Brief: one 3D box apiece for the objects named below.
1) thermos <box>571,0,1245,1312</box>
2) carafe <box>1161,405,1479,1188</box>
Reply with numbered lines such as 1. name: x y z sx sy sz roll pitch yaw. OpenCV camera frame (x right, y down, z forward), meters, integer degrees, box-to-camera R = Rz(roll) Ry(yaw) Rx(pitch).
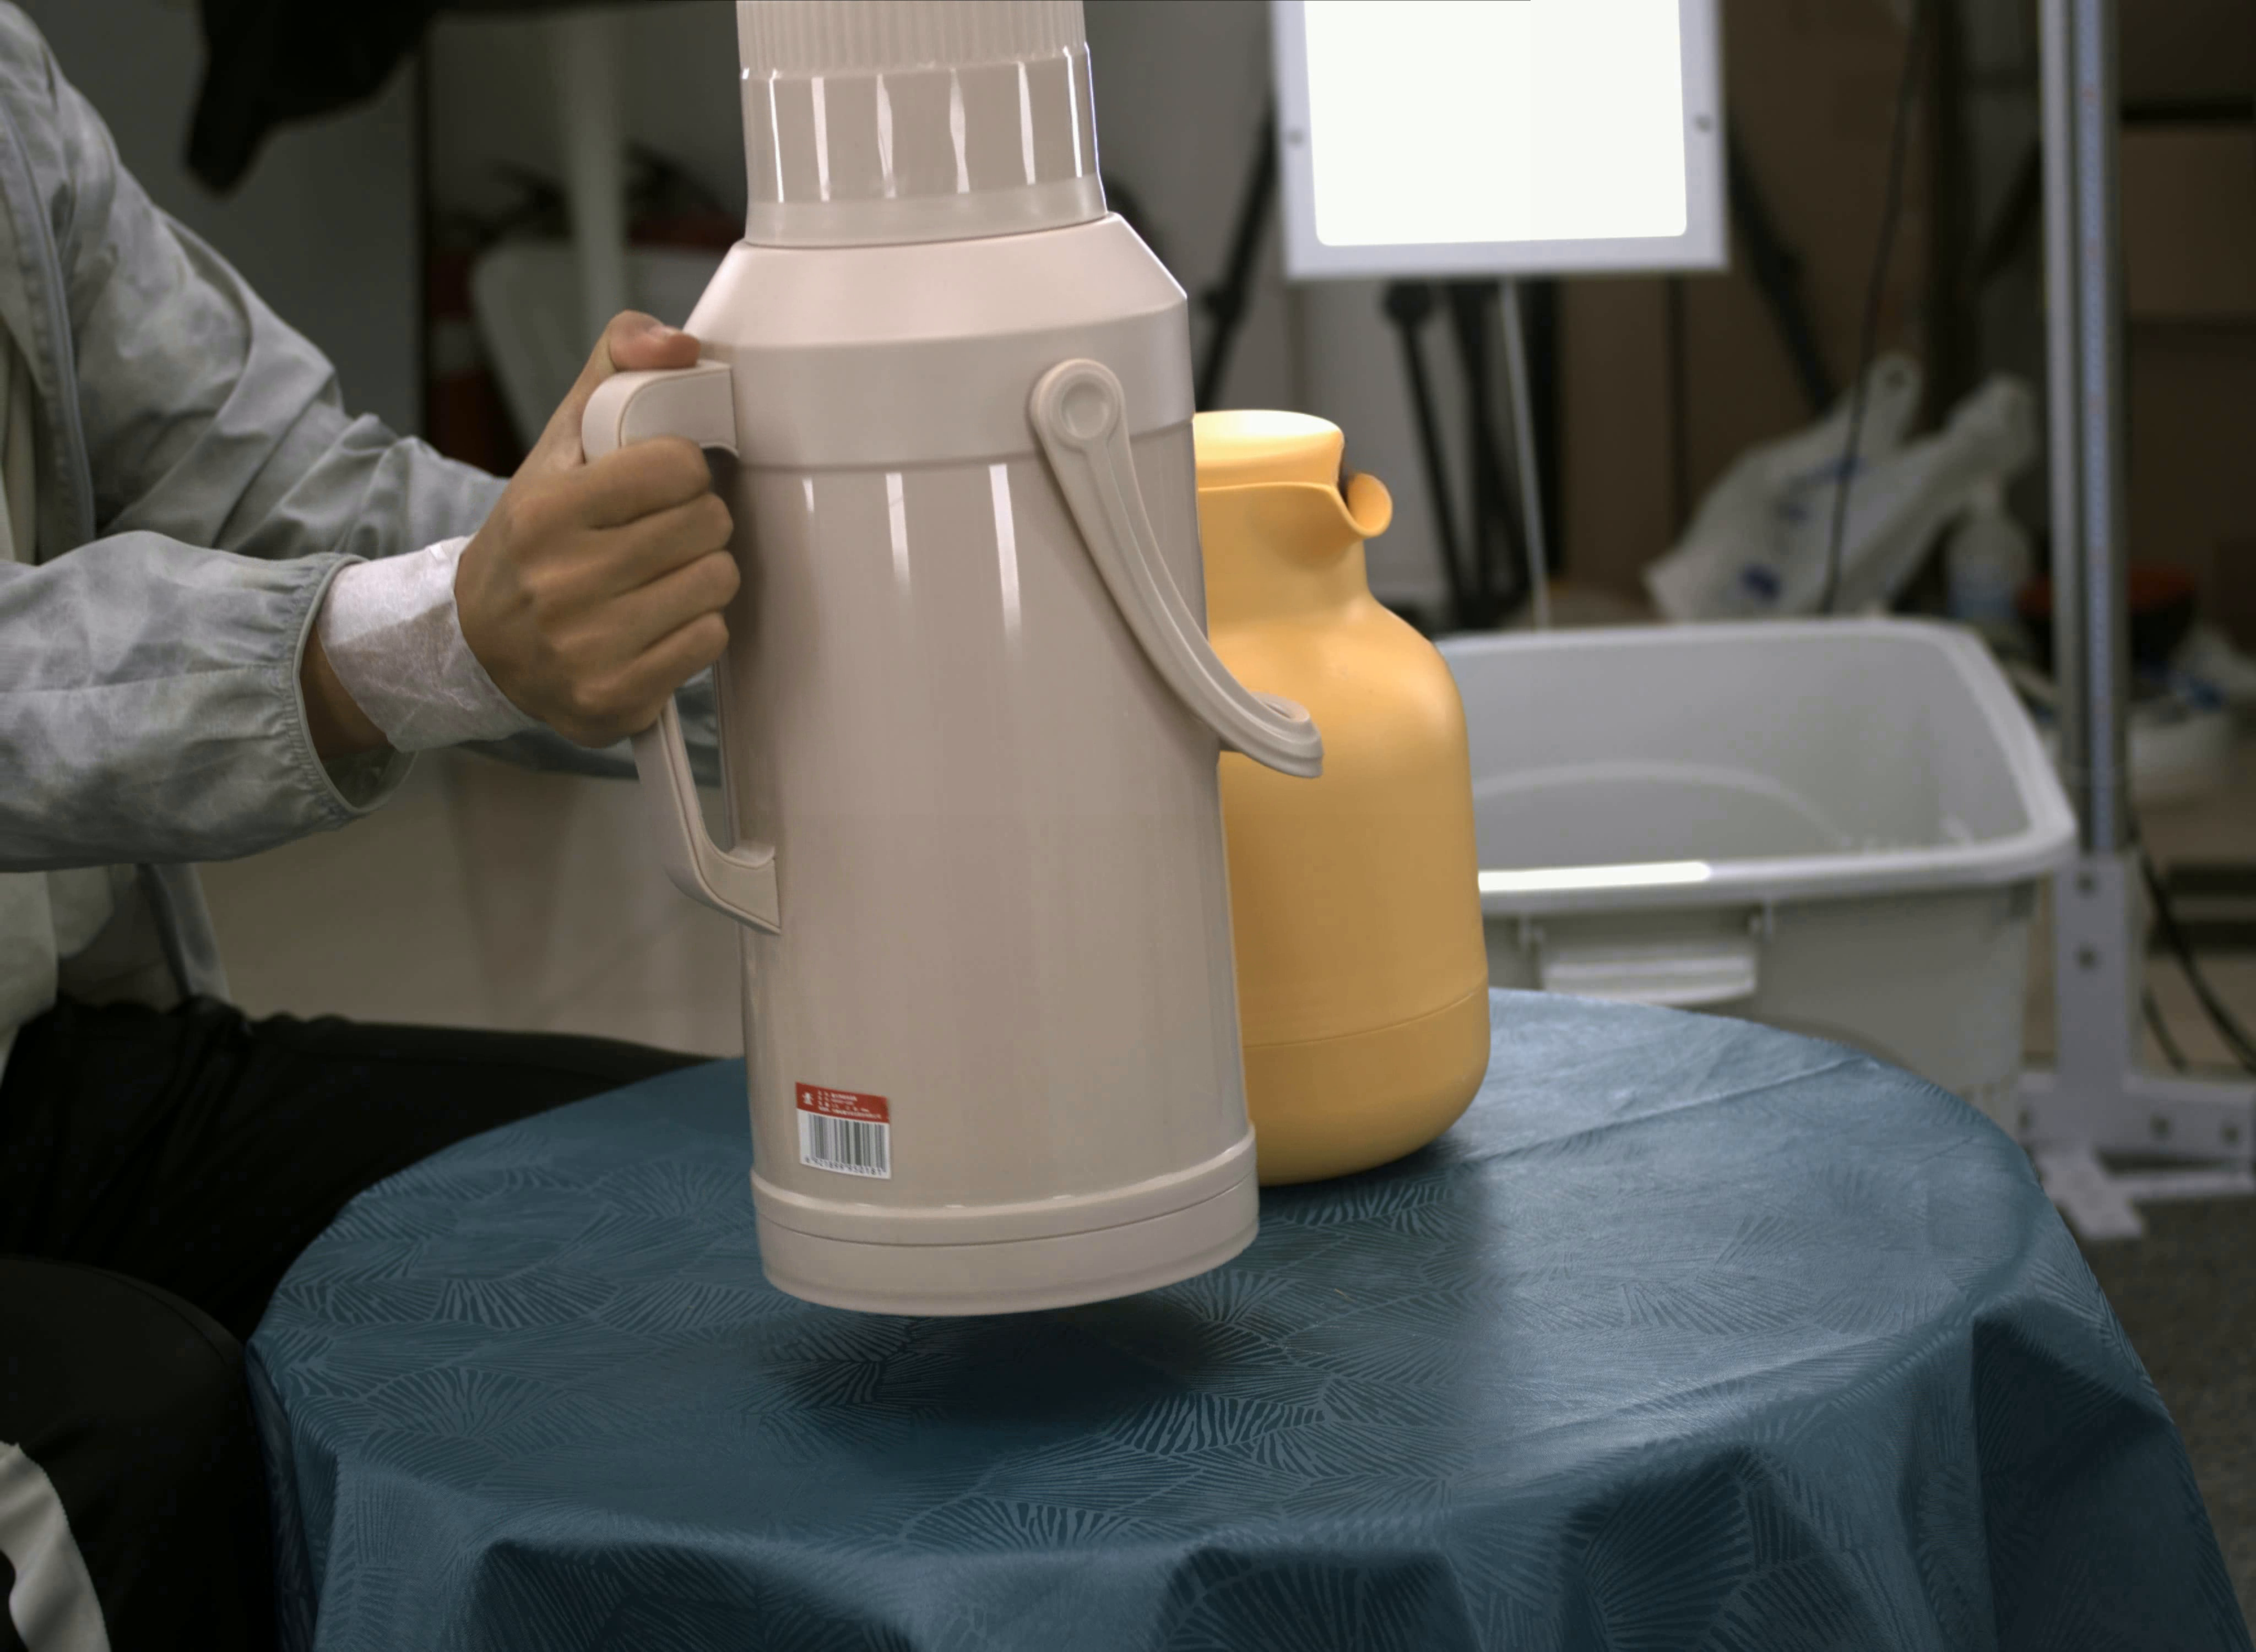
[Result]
1. thermos: -0.067 -0.061 1.692 0.202 0.408 0.178 -9 12 -28
2. carafe: 0.026 -0.017 1.923 0.159 0.261 0.207 -13 17 -39
